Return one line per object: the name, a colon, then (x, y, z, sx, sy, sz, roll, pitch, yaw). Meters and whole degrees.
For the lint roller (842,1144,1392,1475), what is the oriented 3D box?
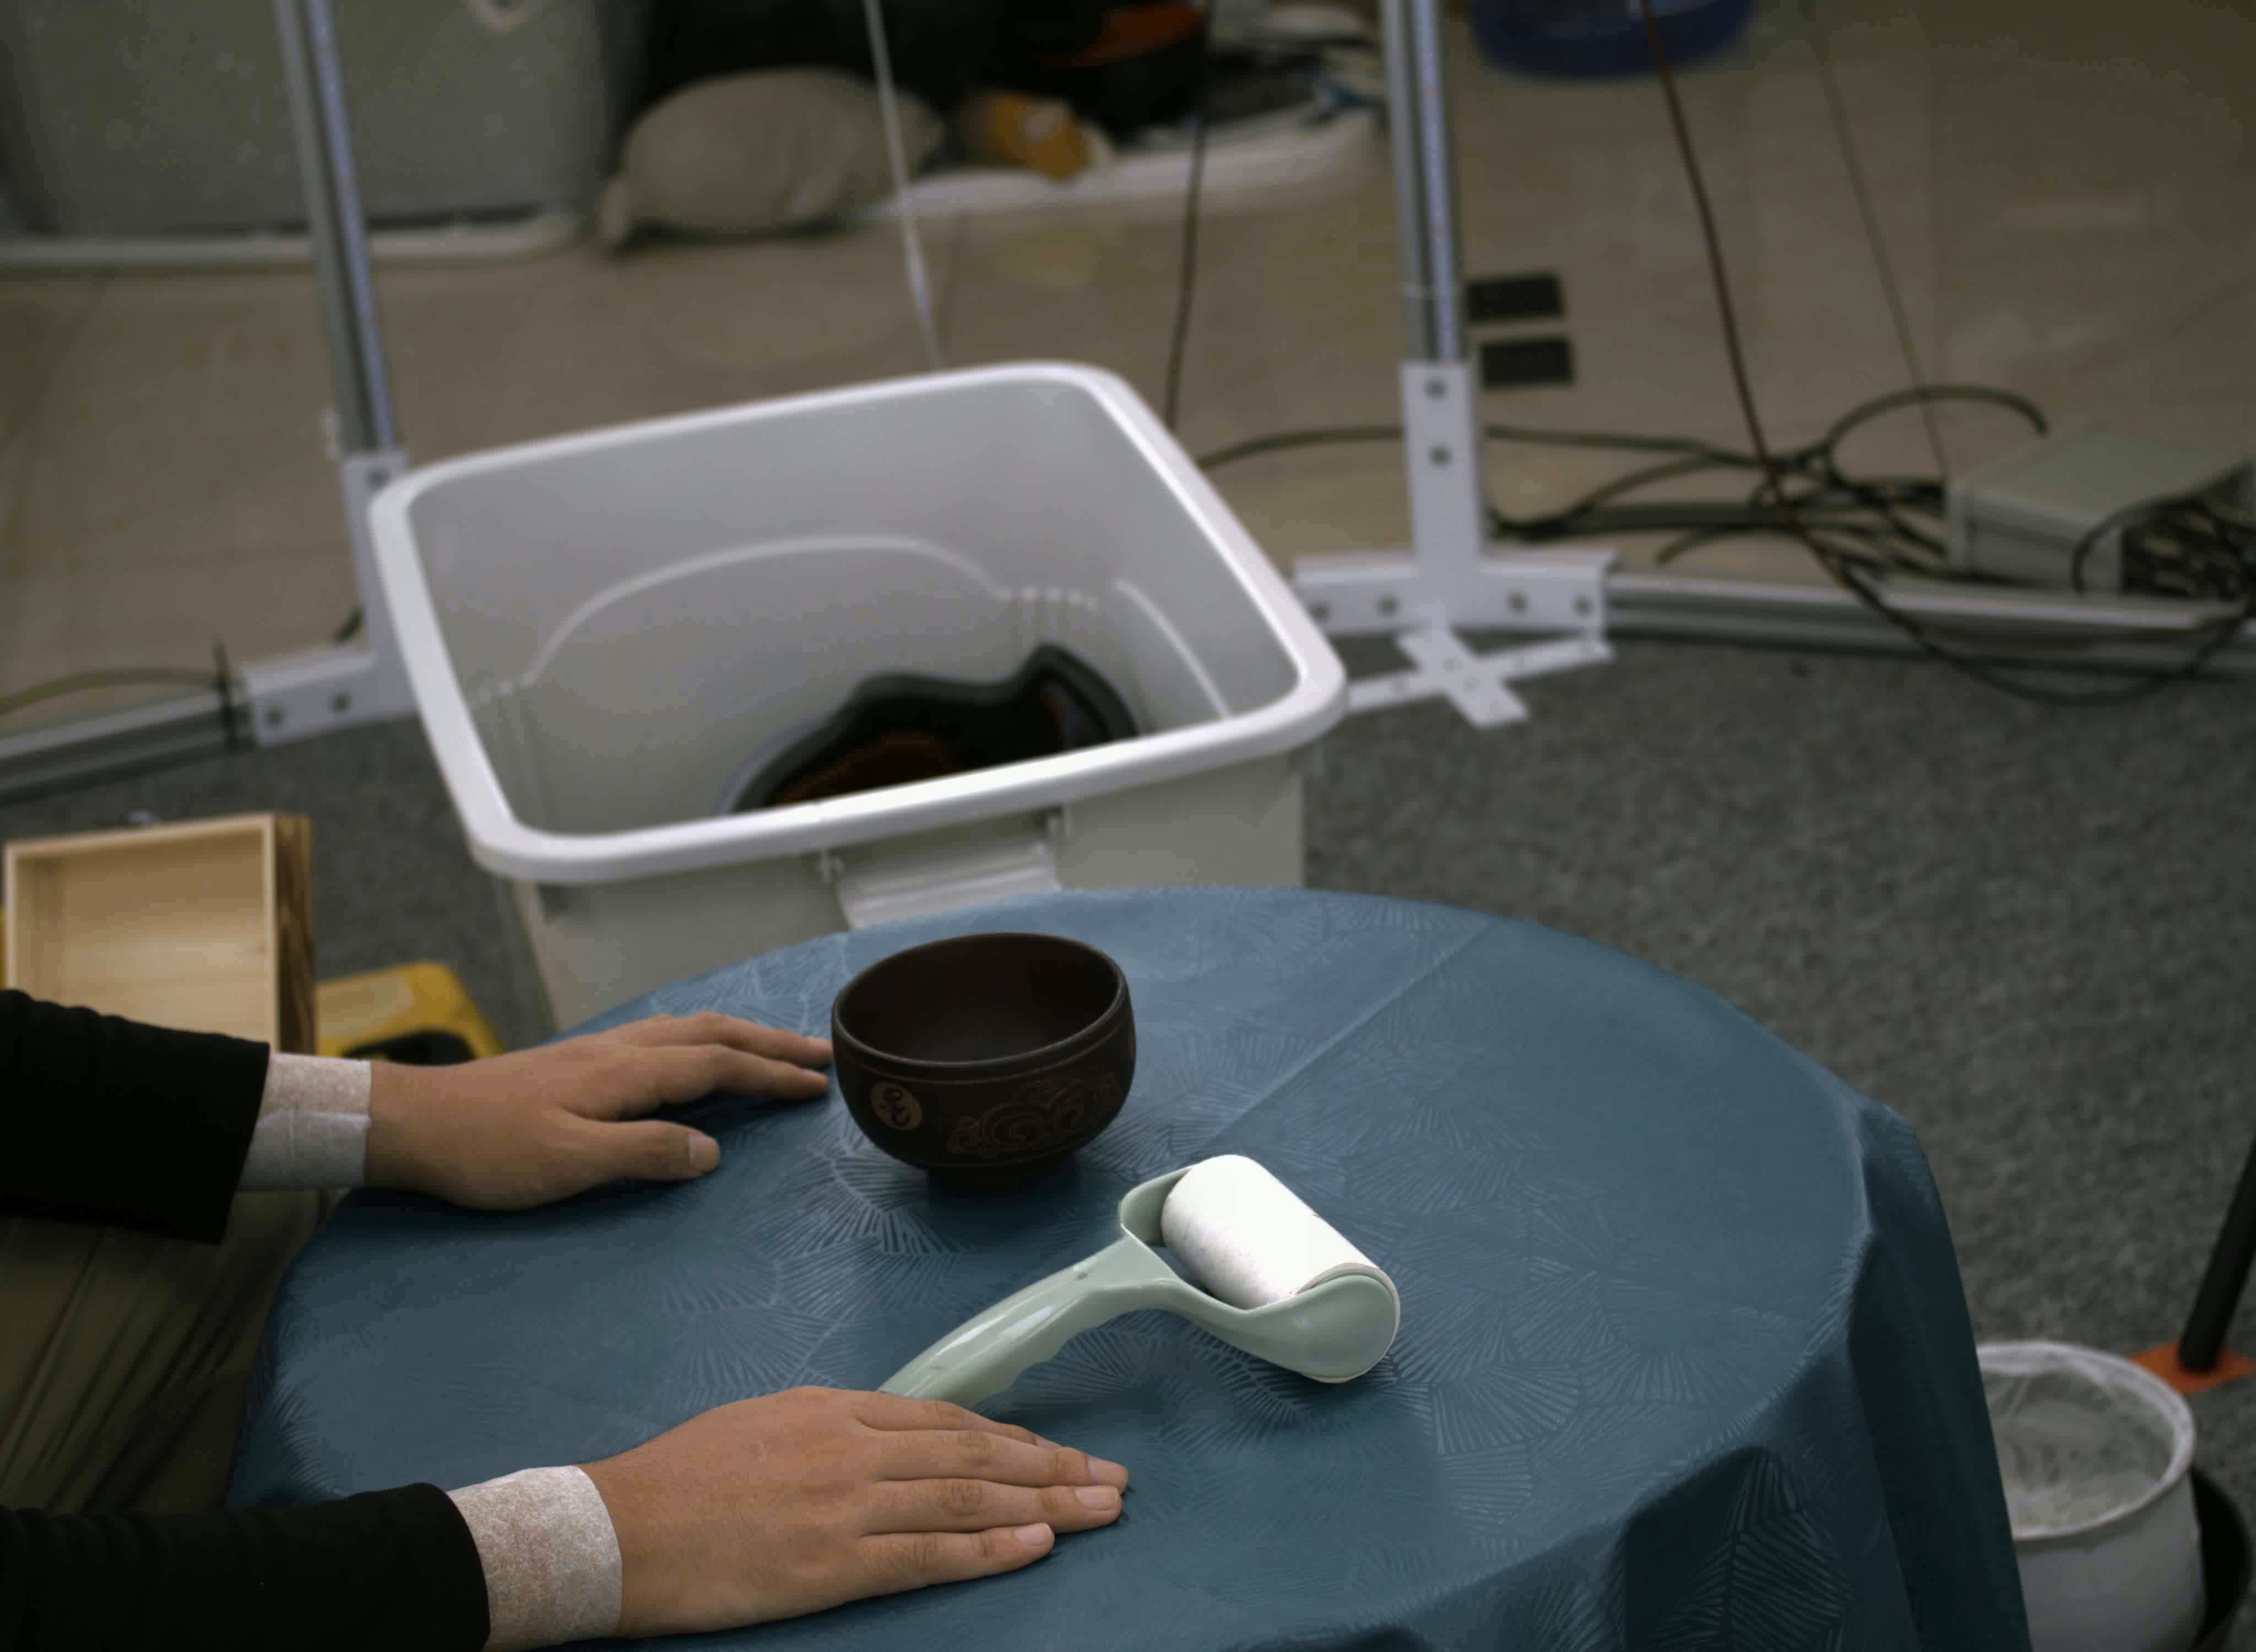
lint roller: (-0.015, 0.176, 2.019, 0.196, 0.049, 0.115, -18, 28, -20)

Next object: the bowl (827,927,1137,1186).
bowl: (-0.054, 0.094, 2.171, 0.118, 0.071, 0.116, -6, 26, 3)
